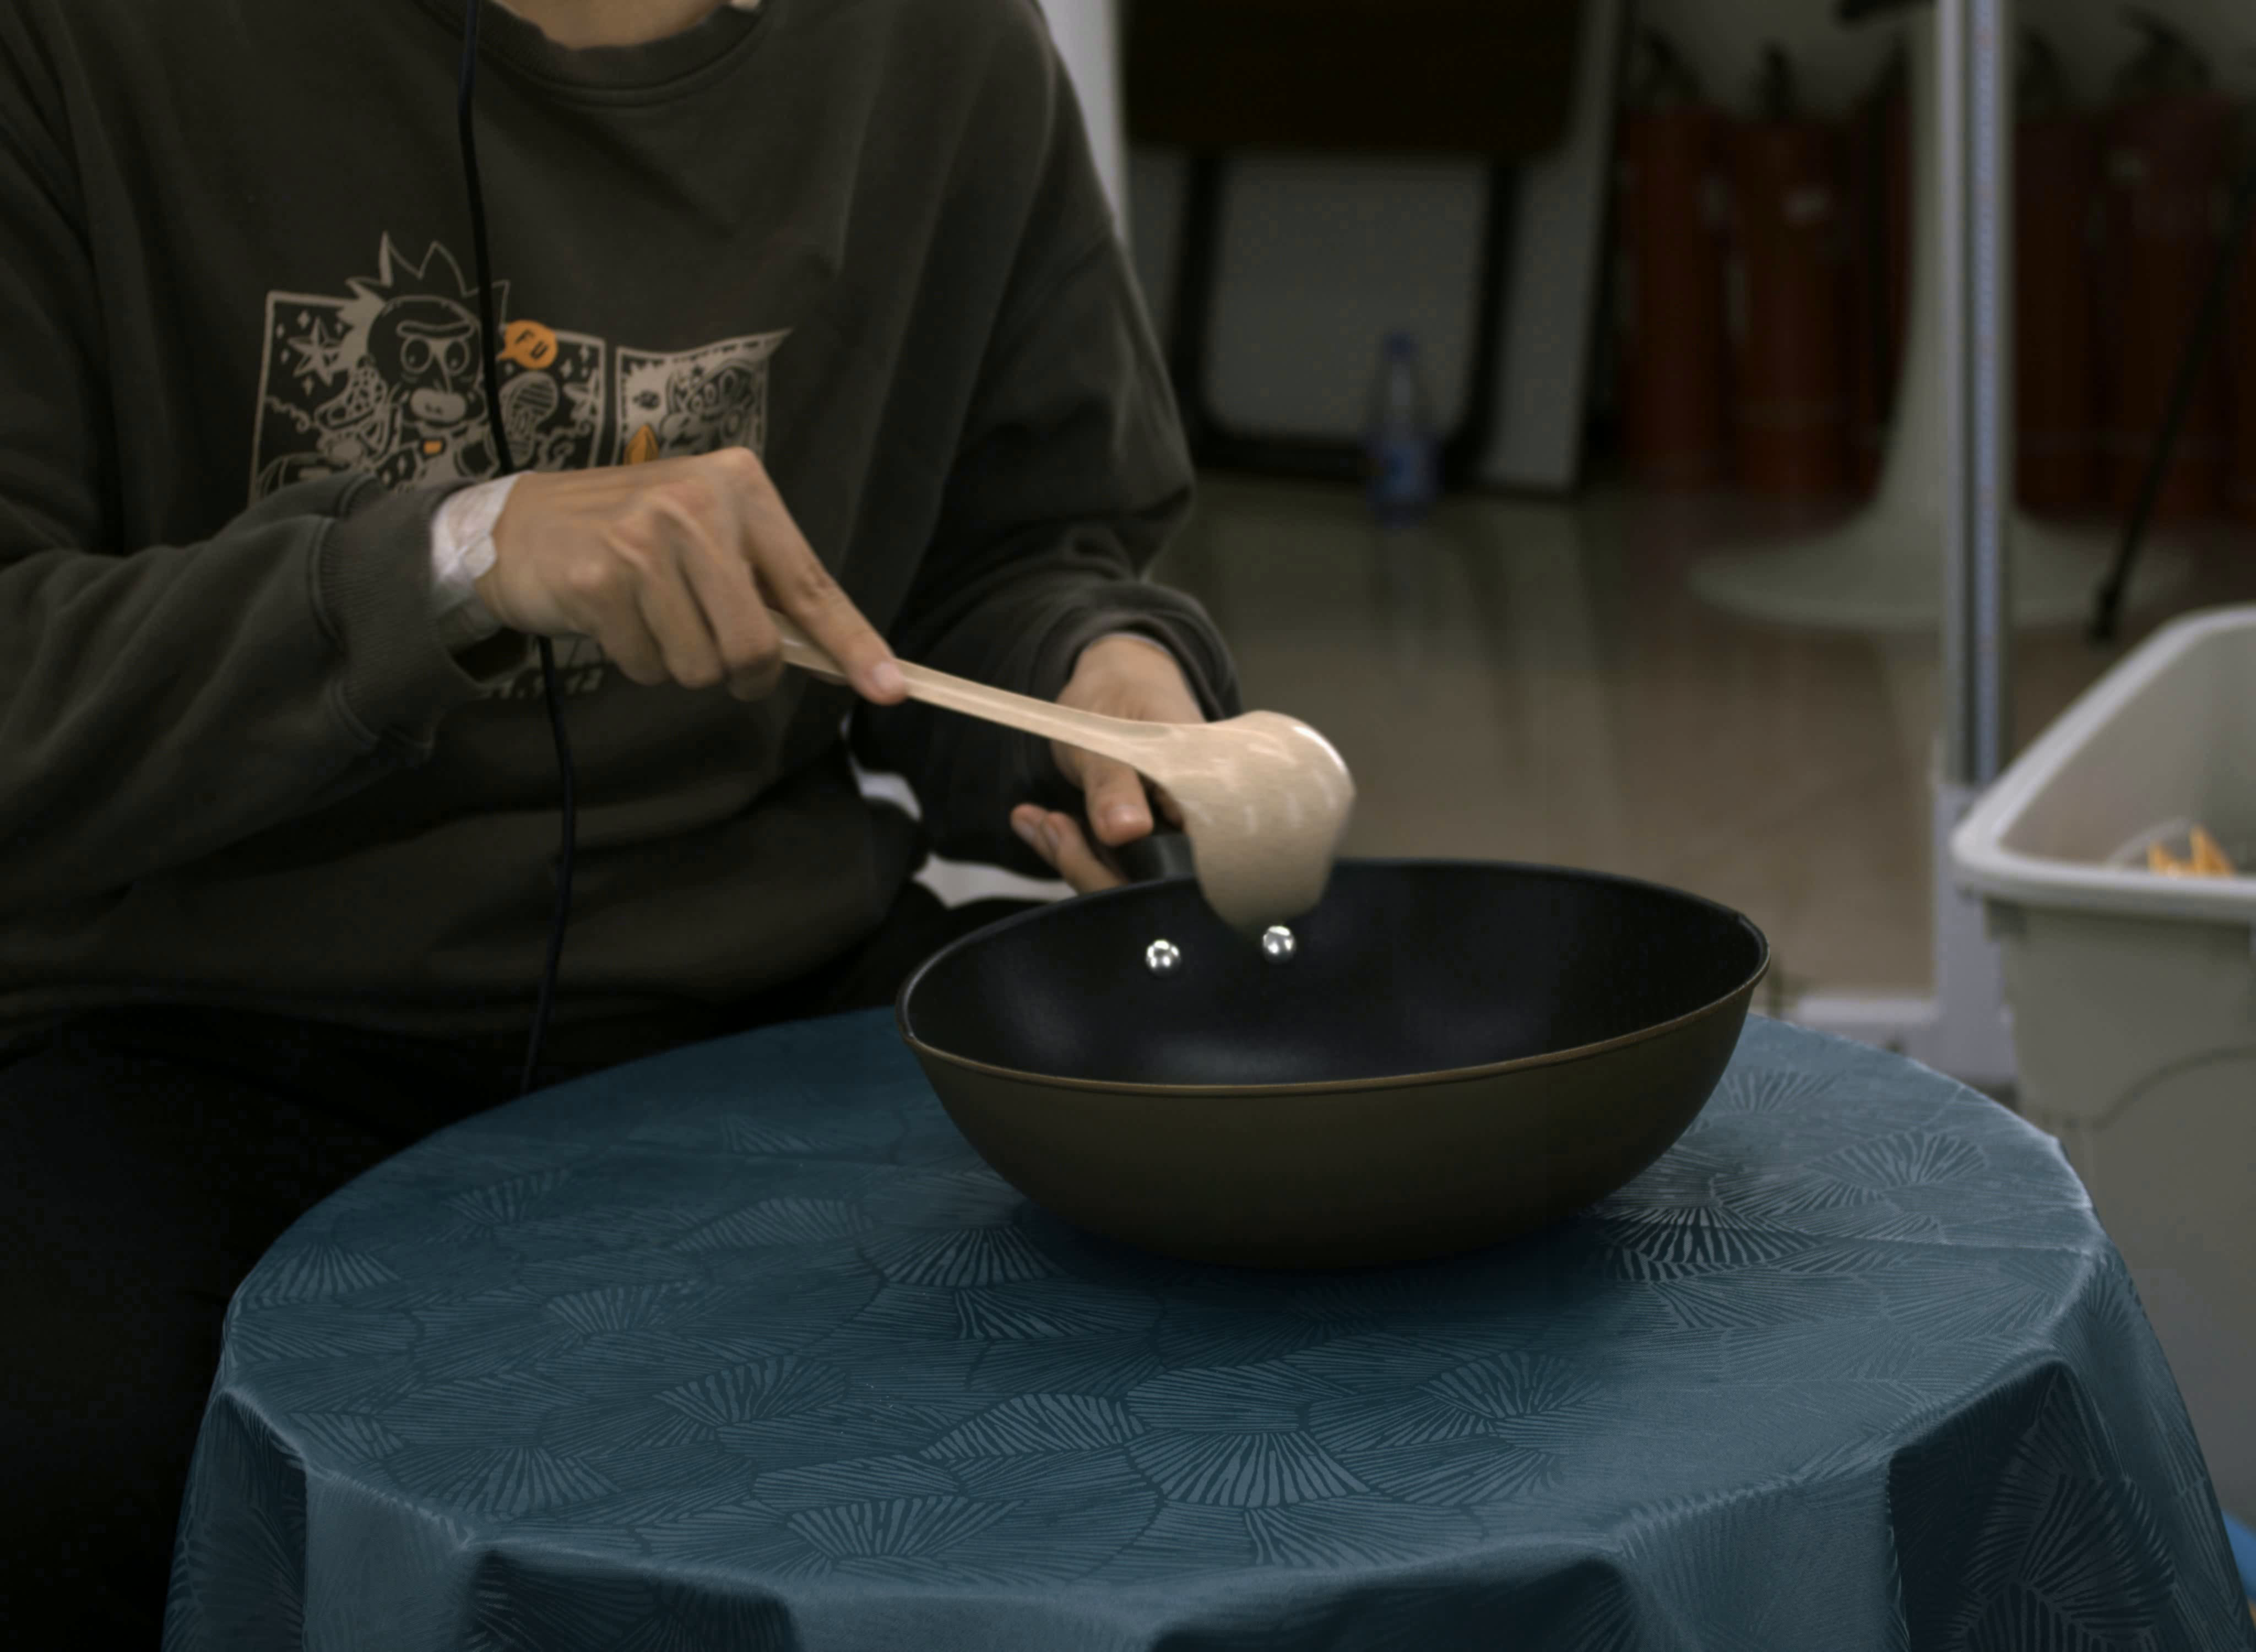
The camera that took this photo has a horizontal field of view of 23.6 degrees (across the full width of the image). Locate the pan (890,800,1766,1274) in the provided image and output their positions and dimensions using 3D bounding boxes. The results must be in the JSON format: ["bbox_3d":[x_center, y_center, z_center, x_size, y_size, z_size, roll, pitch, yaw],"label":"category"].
[{"bbox_3d":[0.041,0.067,1.818,0.282,0.088,0.467,-7,12,-14],"label":"pan"}]

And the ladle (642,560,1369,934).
[{"bbox_3d":[-0.042,-0.030,1.806,0.254,0.072,0.072,18,-22,14],"label":"ladle"}]
